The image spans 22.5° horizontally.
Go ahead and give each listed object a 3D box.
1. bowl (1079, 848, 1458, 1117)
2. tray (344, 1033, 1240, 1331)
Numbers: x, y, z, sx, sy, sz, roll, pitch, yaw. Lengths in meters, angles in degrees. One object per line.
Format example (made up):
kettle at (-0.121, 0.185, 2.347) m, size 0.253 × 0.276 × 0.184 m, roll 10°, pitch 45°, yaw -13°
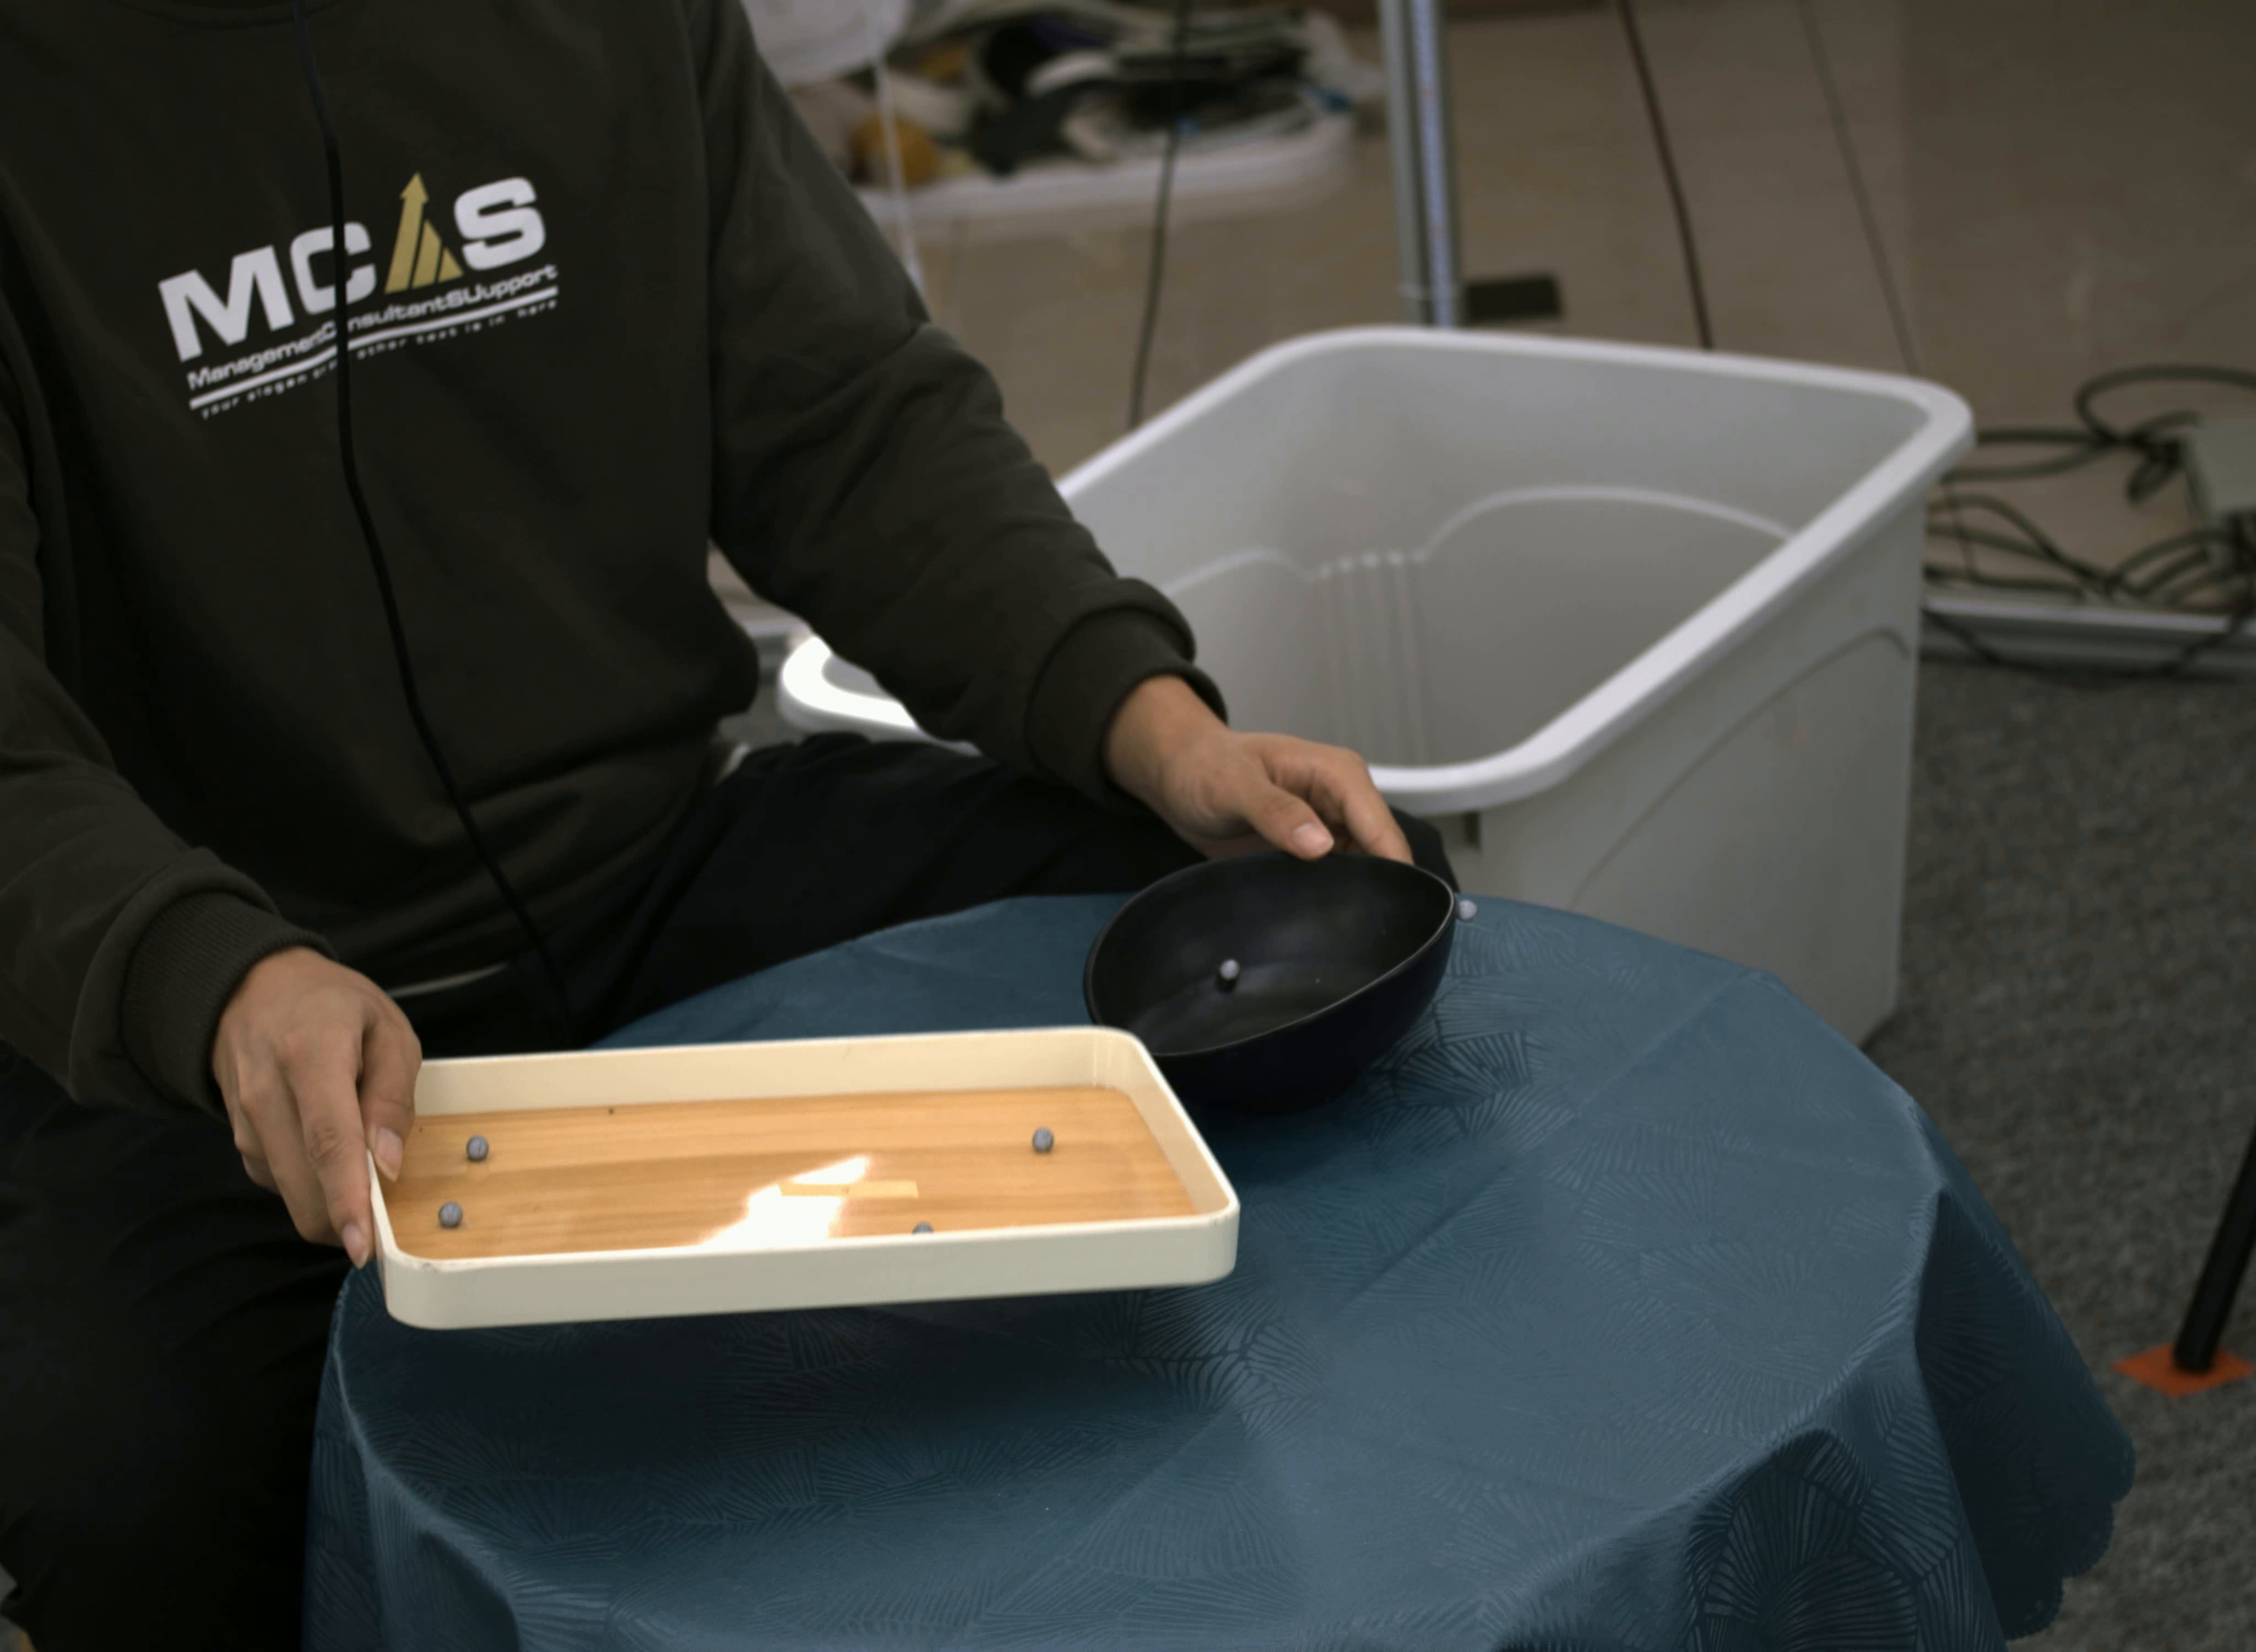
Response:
bowl at (0.058, 0.069, 2.210) m, size 0.136 × 0.068 × 0.168 m, roll 10°, pitch 32°, yaw 35°
tray at (-0.124, 0.126, 2.035) m, size 0.300 × 0.028 × 0.189 m, roll -2°, pitch 20°, yaw -13°
